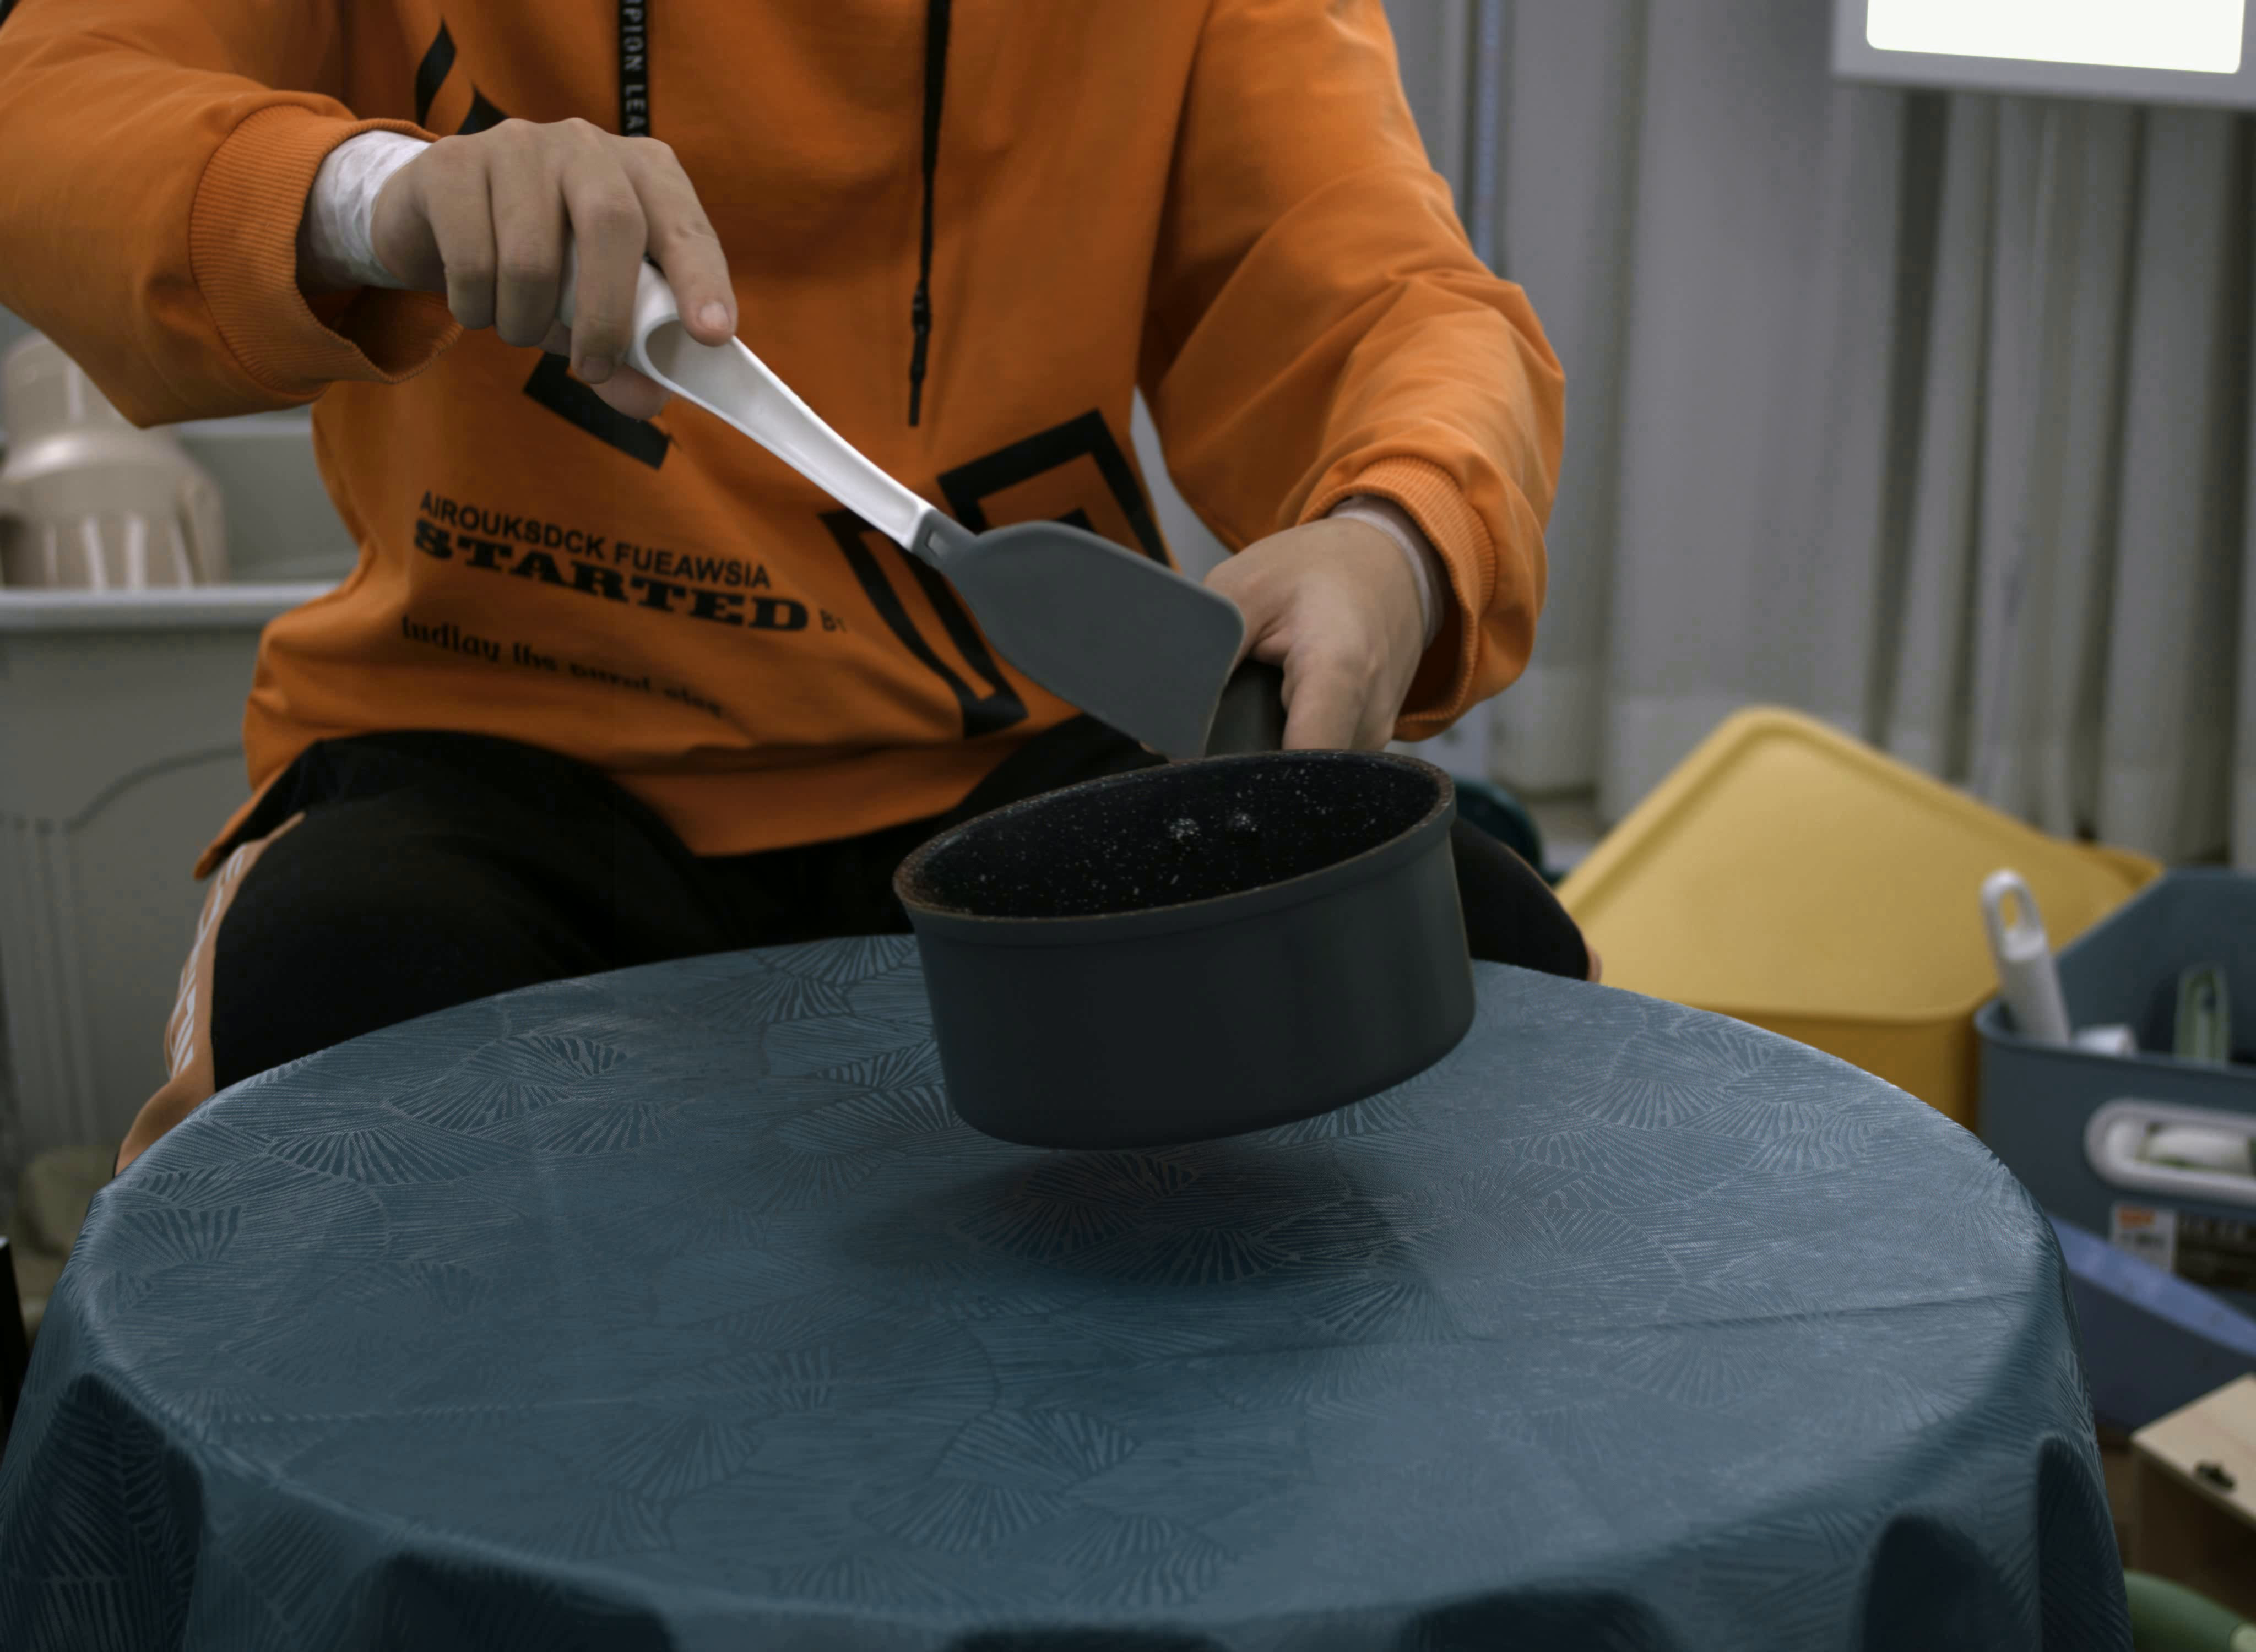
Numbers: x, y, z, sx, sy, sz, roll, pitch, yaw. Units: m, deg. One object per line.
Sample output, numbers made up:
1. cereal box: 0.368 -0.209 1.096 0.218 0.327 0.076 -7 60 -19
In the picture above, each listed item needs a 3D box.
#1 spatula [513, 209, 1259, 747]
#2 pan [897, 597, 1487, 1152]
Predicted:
1. spatula: -0.078 -0.110 1.576 0.284 0.059 0.032 33 22 29
2. pan: 0.034 0.011 1.657 0.171 0.087 0.328 -6 16 12
